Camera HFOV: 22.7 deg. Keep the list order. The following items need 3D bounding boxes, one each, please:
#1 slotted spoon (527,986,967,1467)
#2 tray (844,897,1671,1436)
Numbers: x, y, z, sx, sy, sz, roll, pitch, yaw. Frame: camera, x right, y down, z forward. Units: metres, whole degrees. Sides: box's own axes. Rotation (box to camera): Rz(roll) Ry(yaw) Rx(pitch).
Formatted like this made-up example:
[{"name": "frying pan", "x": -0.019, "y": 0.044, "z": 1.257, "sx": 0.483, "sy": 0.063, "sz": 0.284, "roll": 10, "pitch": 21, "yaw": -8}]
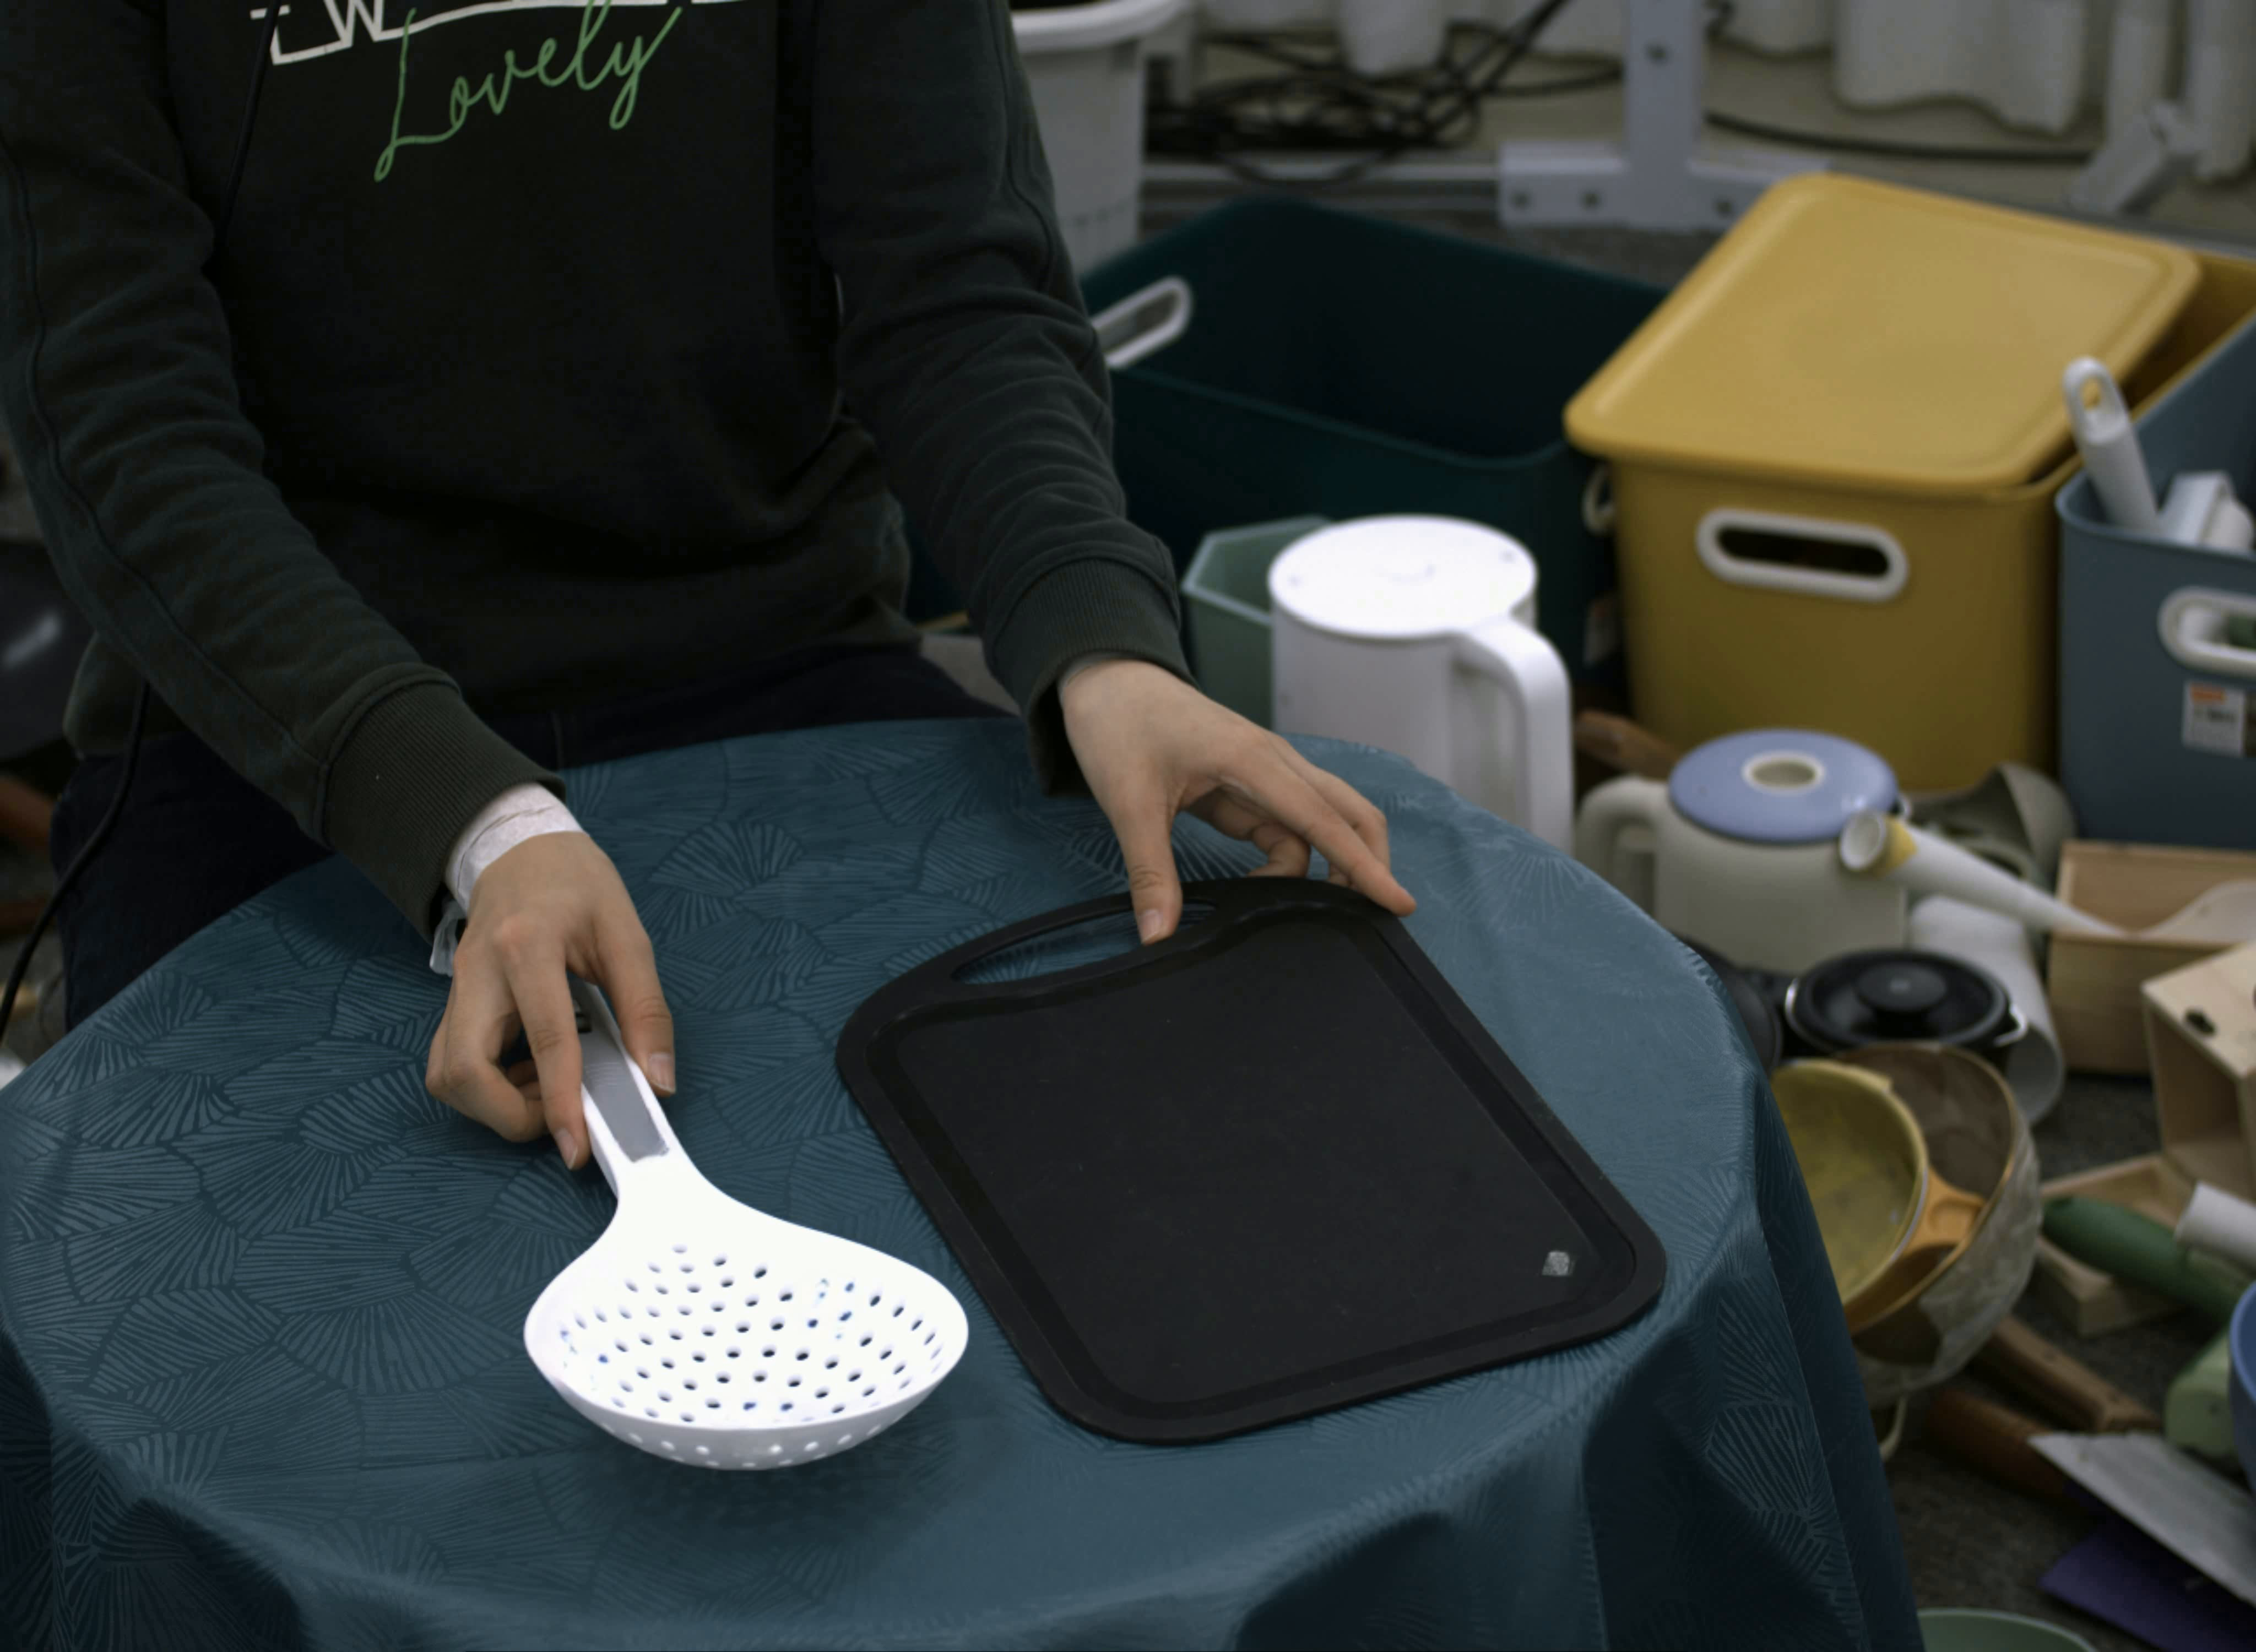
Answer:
[{"name": "slotted spoon", "x": -0.149, "y": 0.123, "z": 1.823, "sx": 0.136, "sy": 0.045, "sz": 0.353, "roll": -3, "pitch": 25, "yaw": -17}, {"name": "tray", "x": 0.033, "y": 0.104, "z": 1.880, "sx": 0.211, "sy": 0.009, "sz": 0.328, "roll": -13, "pitch": 29, "yaw": -16}]
